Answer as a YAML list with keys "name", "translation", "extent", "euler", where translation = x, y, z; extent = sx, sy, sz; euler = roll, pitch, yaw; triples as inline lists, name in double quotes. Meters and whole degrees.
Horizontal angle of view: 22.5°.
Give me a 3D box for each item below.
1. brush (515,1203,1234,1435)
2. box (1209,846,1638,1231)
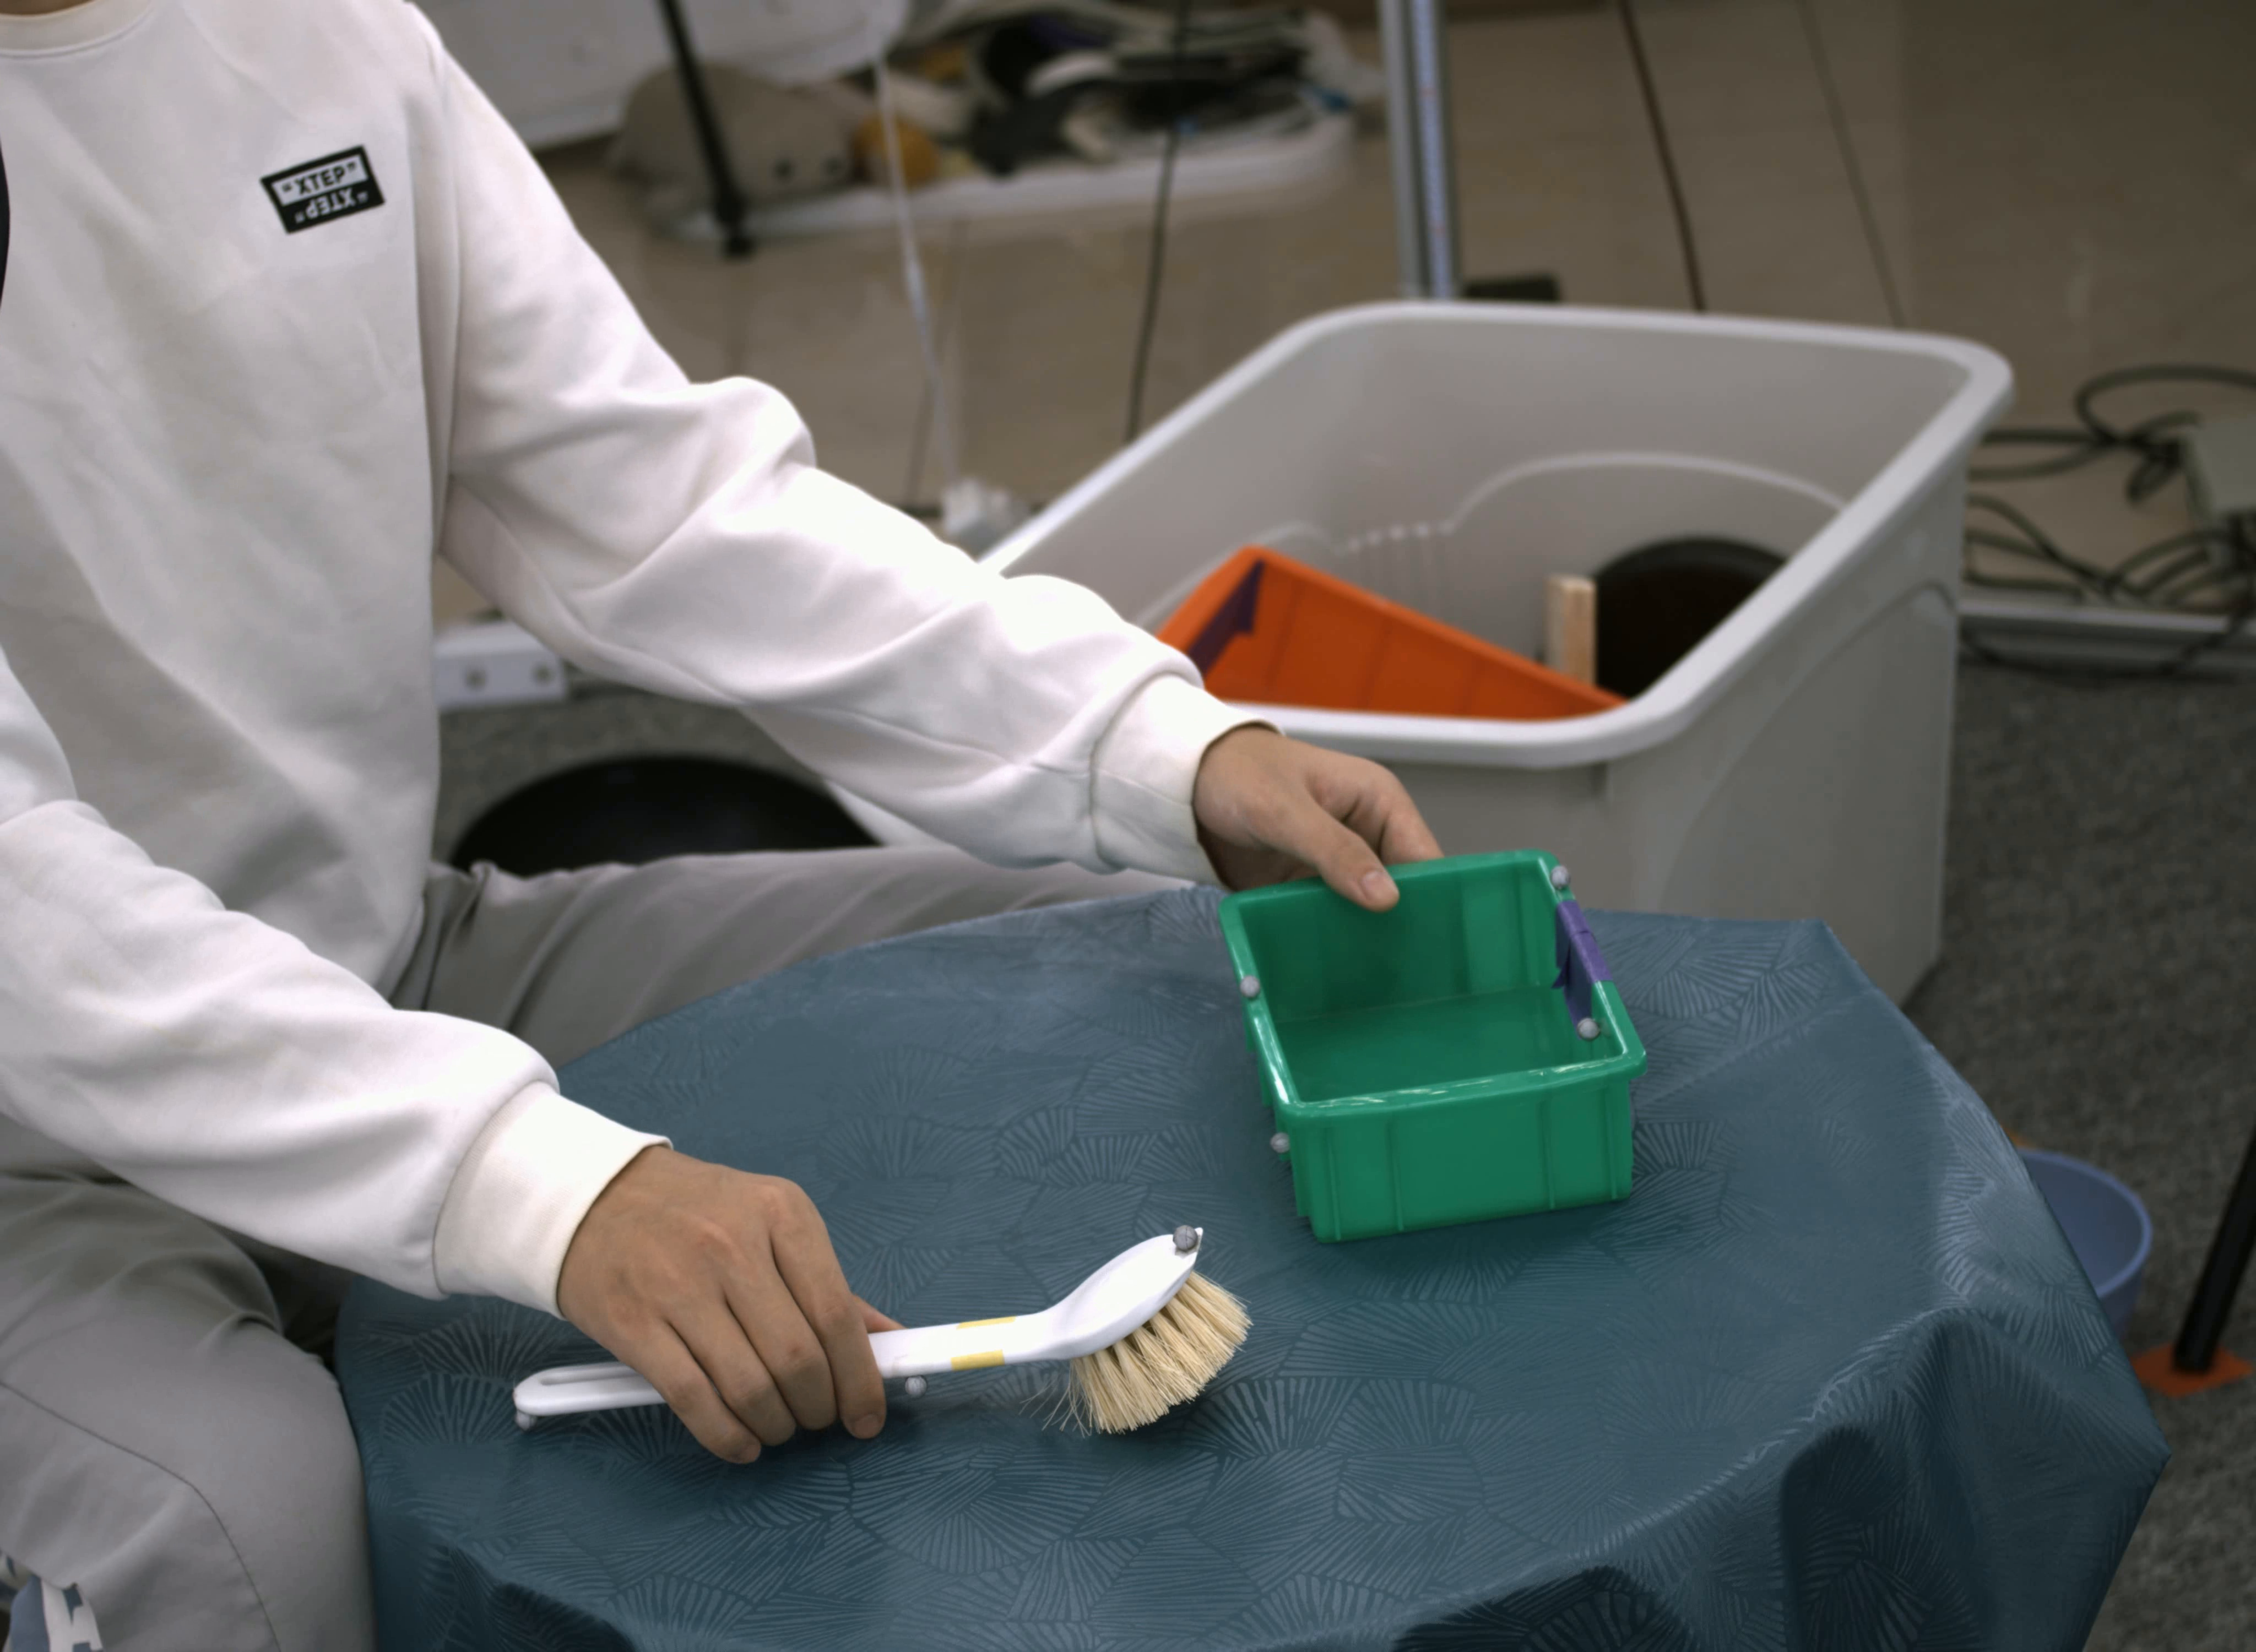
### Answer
- name: "brush"
  translation: [-0.088, 0.197, 2.019]
  extent: [0.267, 0.056, 0.068]
  euler: [-18, 10, 13]
- name: "box"
  translation: [0.113, 0.081, 2.167]
  extent: [0.138, 0.066, 0.207]
  euler: [-8, 22, -4]
